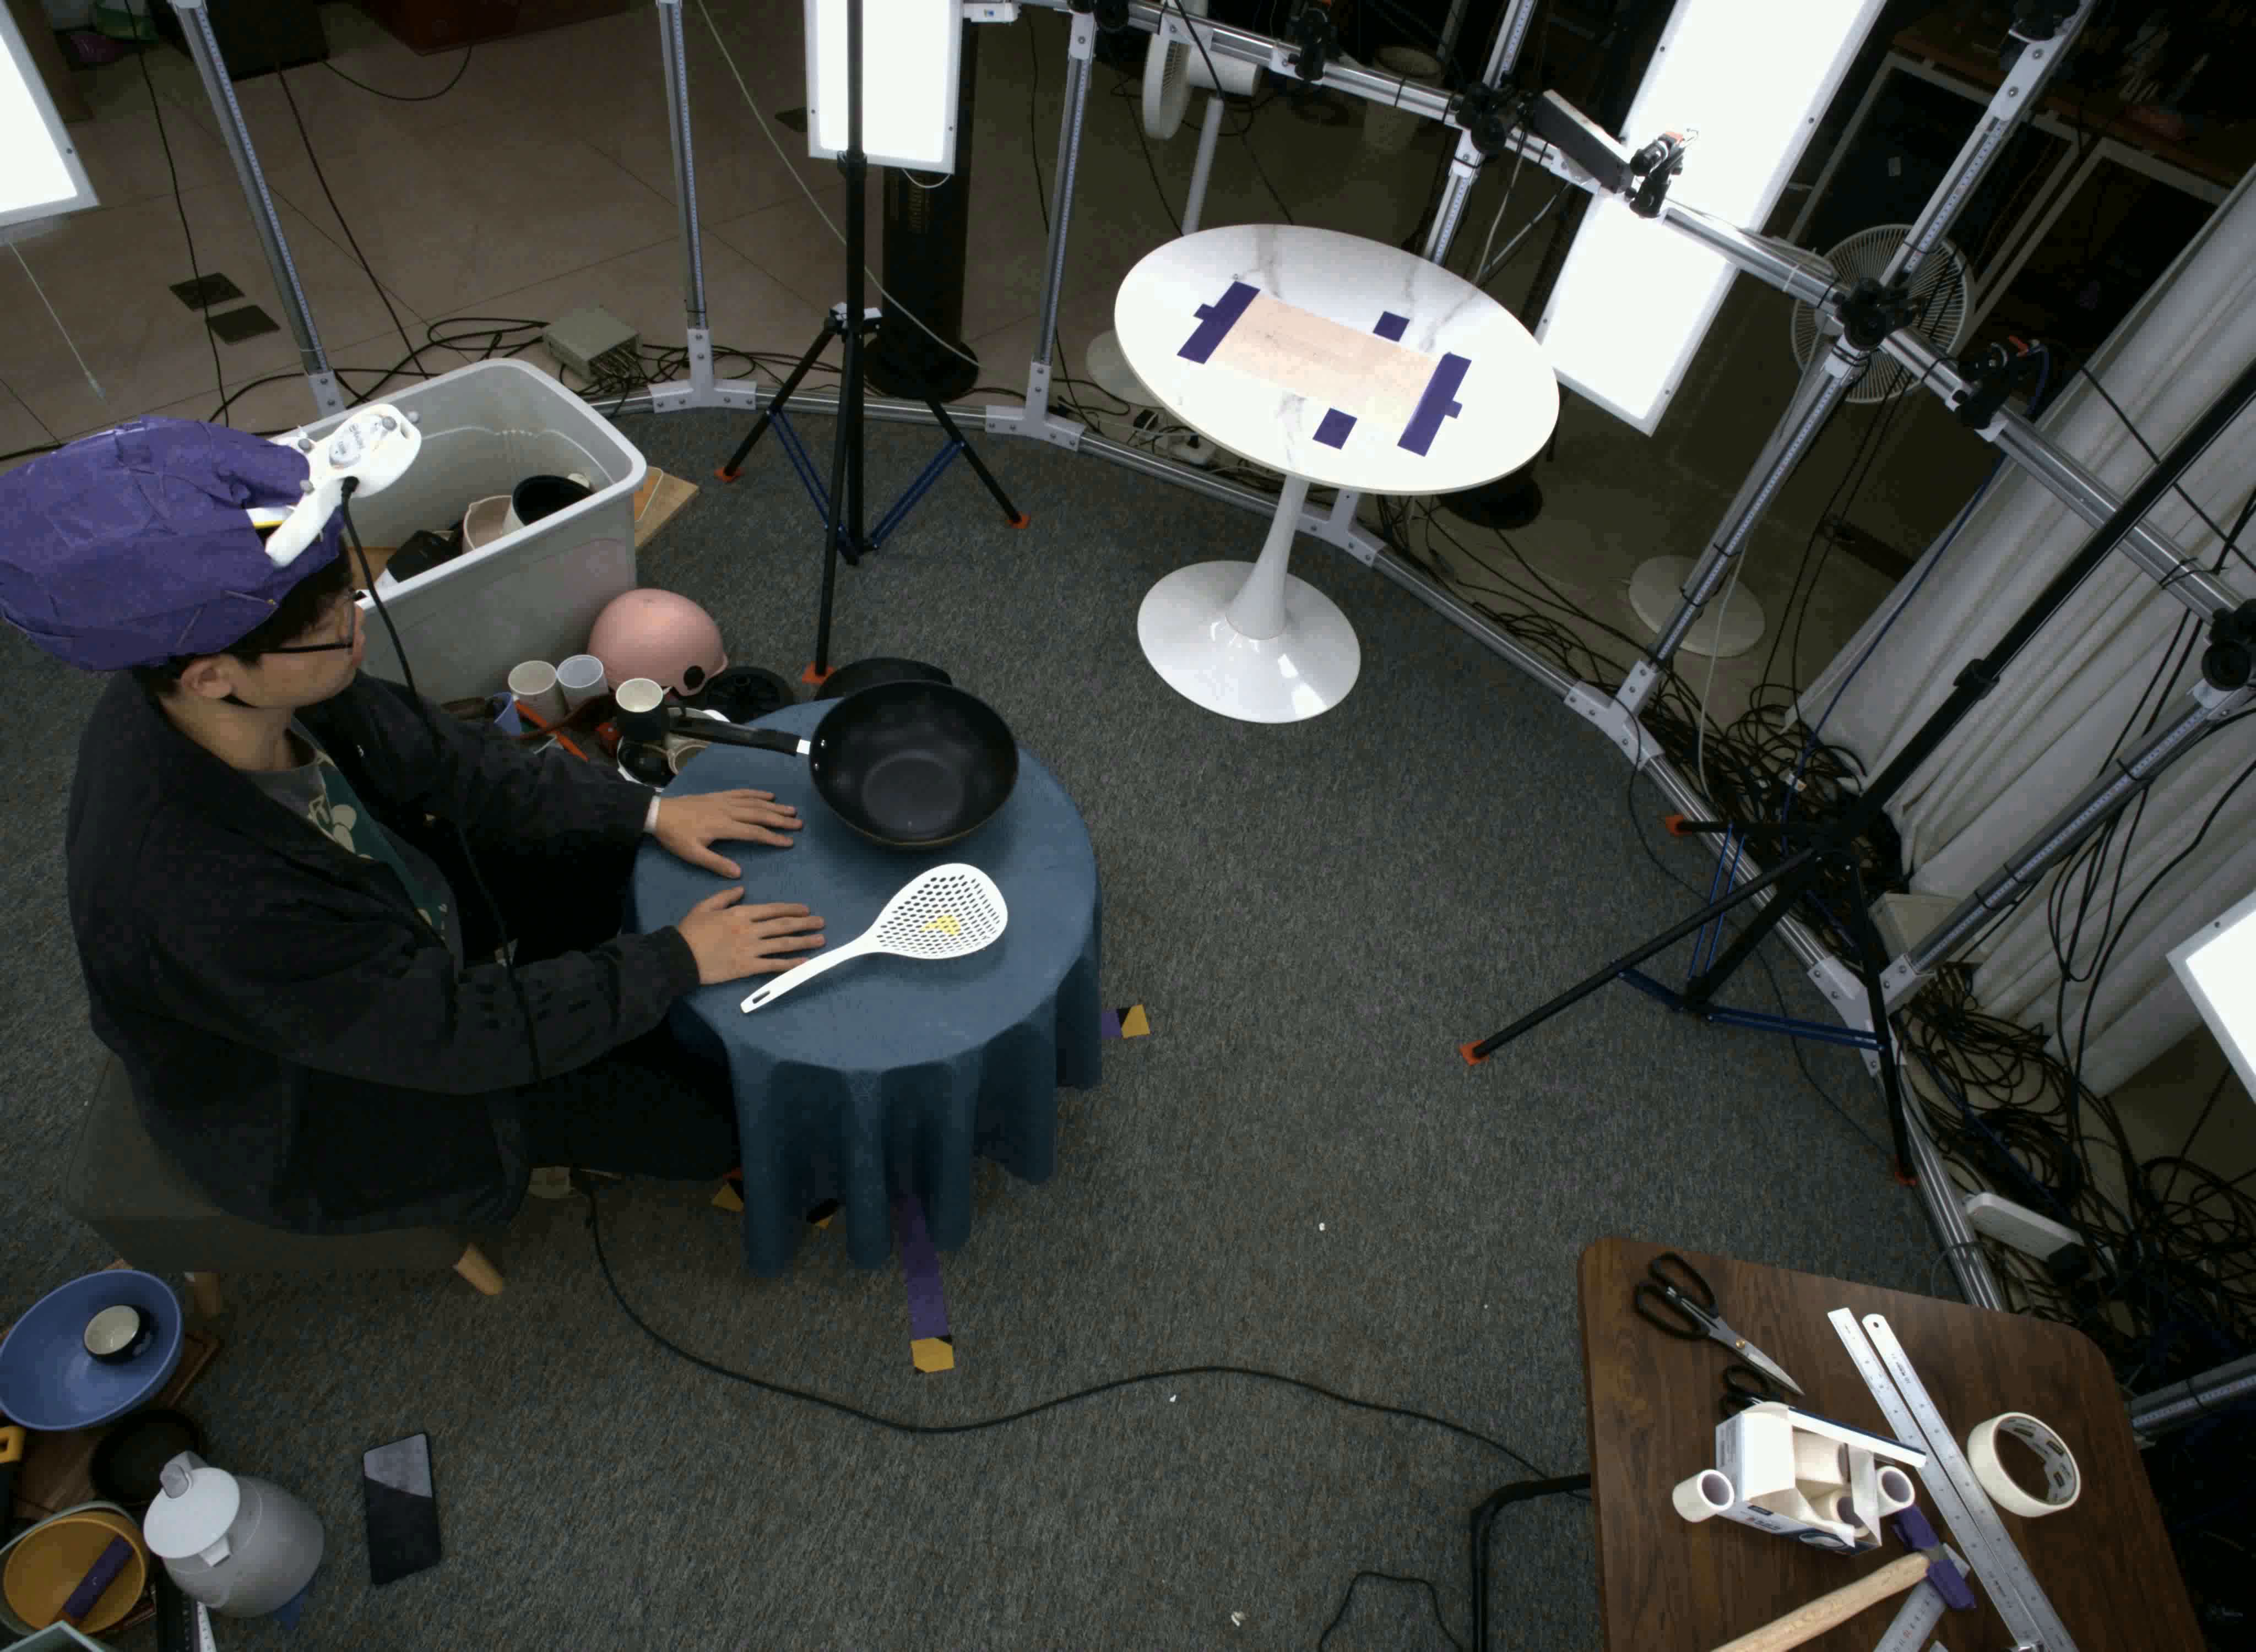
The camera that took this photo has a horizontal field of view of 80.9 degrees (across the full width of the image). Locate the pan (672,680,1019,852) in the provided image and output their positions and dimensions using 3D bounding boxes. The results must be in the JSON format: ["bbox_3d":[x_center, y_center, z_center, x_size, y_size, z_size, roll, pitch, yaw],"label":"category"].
[{"bbox_3d":[-0.378,-0.080,1.743,0.461,0.089,0.283,8,52,-7],"label":"pan"}]

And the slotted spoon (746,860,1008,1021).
[{"bbox_3d":[-0.314,0.149,1.615,0.349,0.051,0.133,-22,63,-26],"label":"slotted spoon"}]
